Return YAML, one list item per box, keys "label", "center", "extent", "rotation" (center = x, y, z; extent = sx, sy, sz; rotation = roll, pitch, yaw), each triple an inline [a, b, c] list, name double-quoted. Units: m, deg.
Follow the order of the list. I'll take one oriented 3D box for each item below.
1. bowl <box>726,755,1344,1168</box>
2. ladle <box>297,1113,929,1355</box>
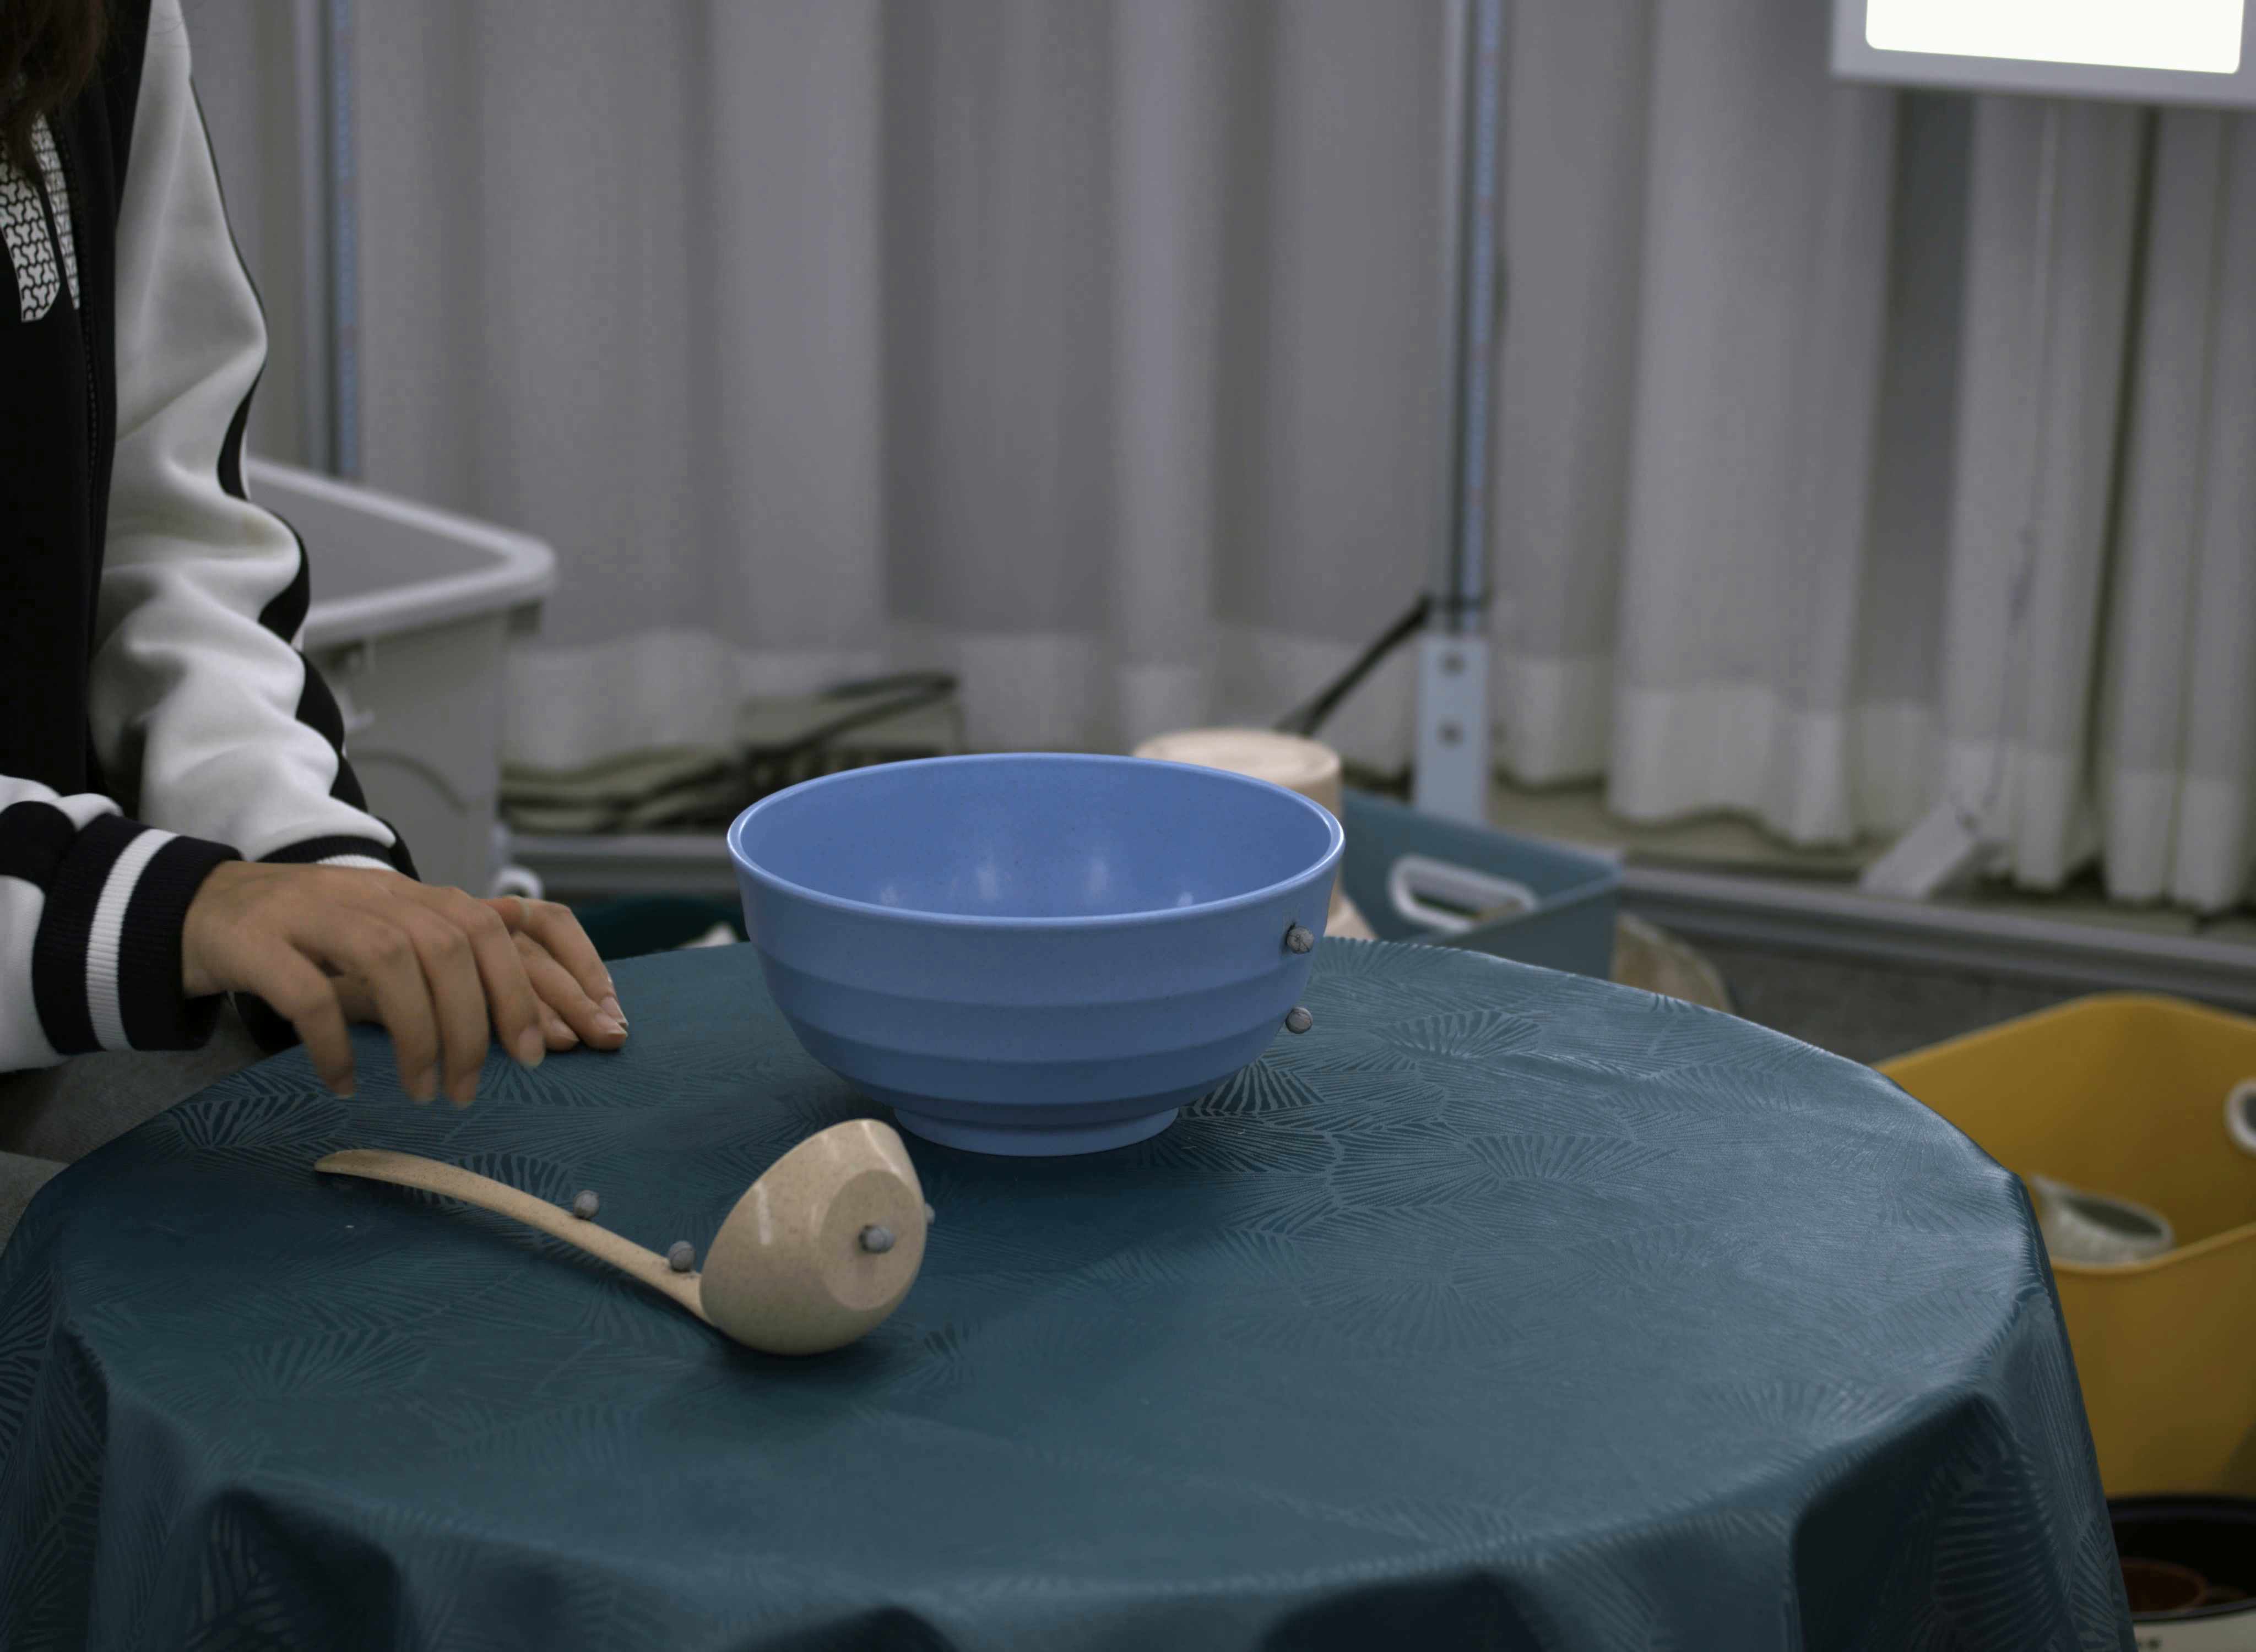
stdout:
- label: "bowl"
  center: [-0.029, 0.050, 1.681]
  extent: [0.196, 0.096, 0.195]
  rotation: [-1, 17, 1]
- label: "ladle"
  center: [-0.161, 0.095, 1.540]
  extent: [0.251, 0.073, 0.072]
  rotation: [14, 20, 40]
